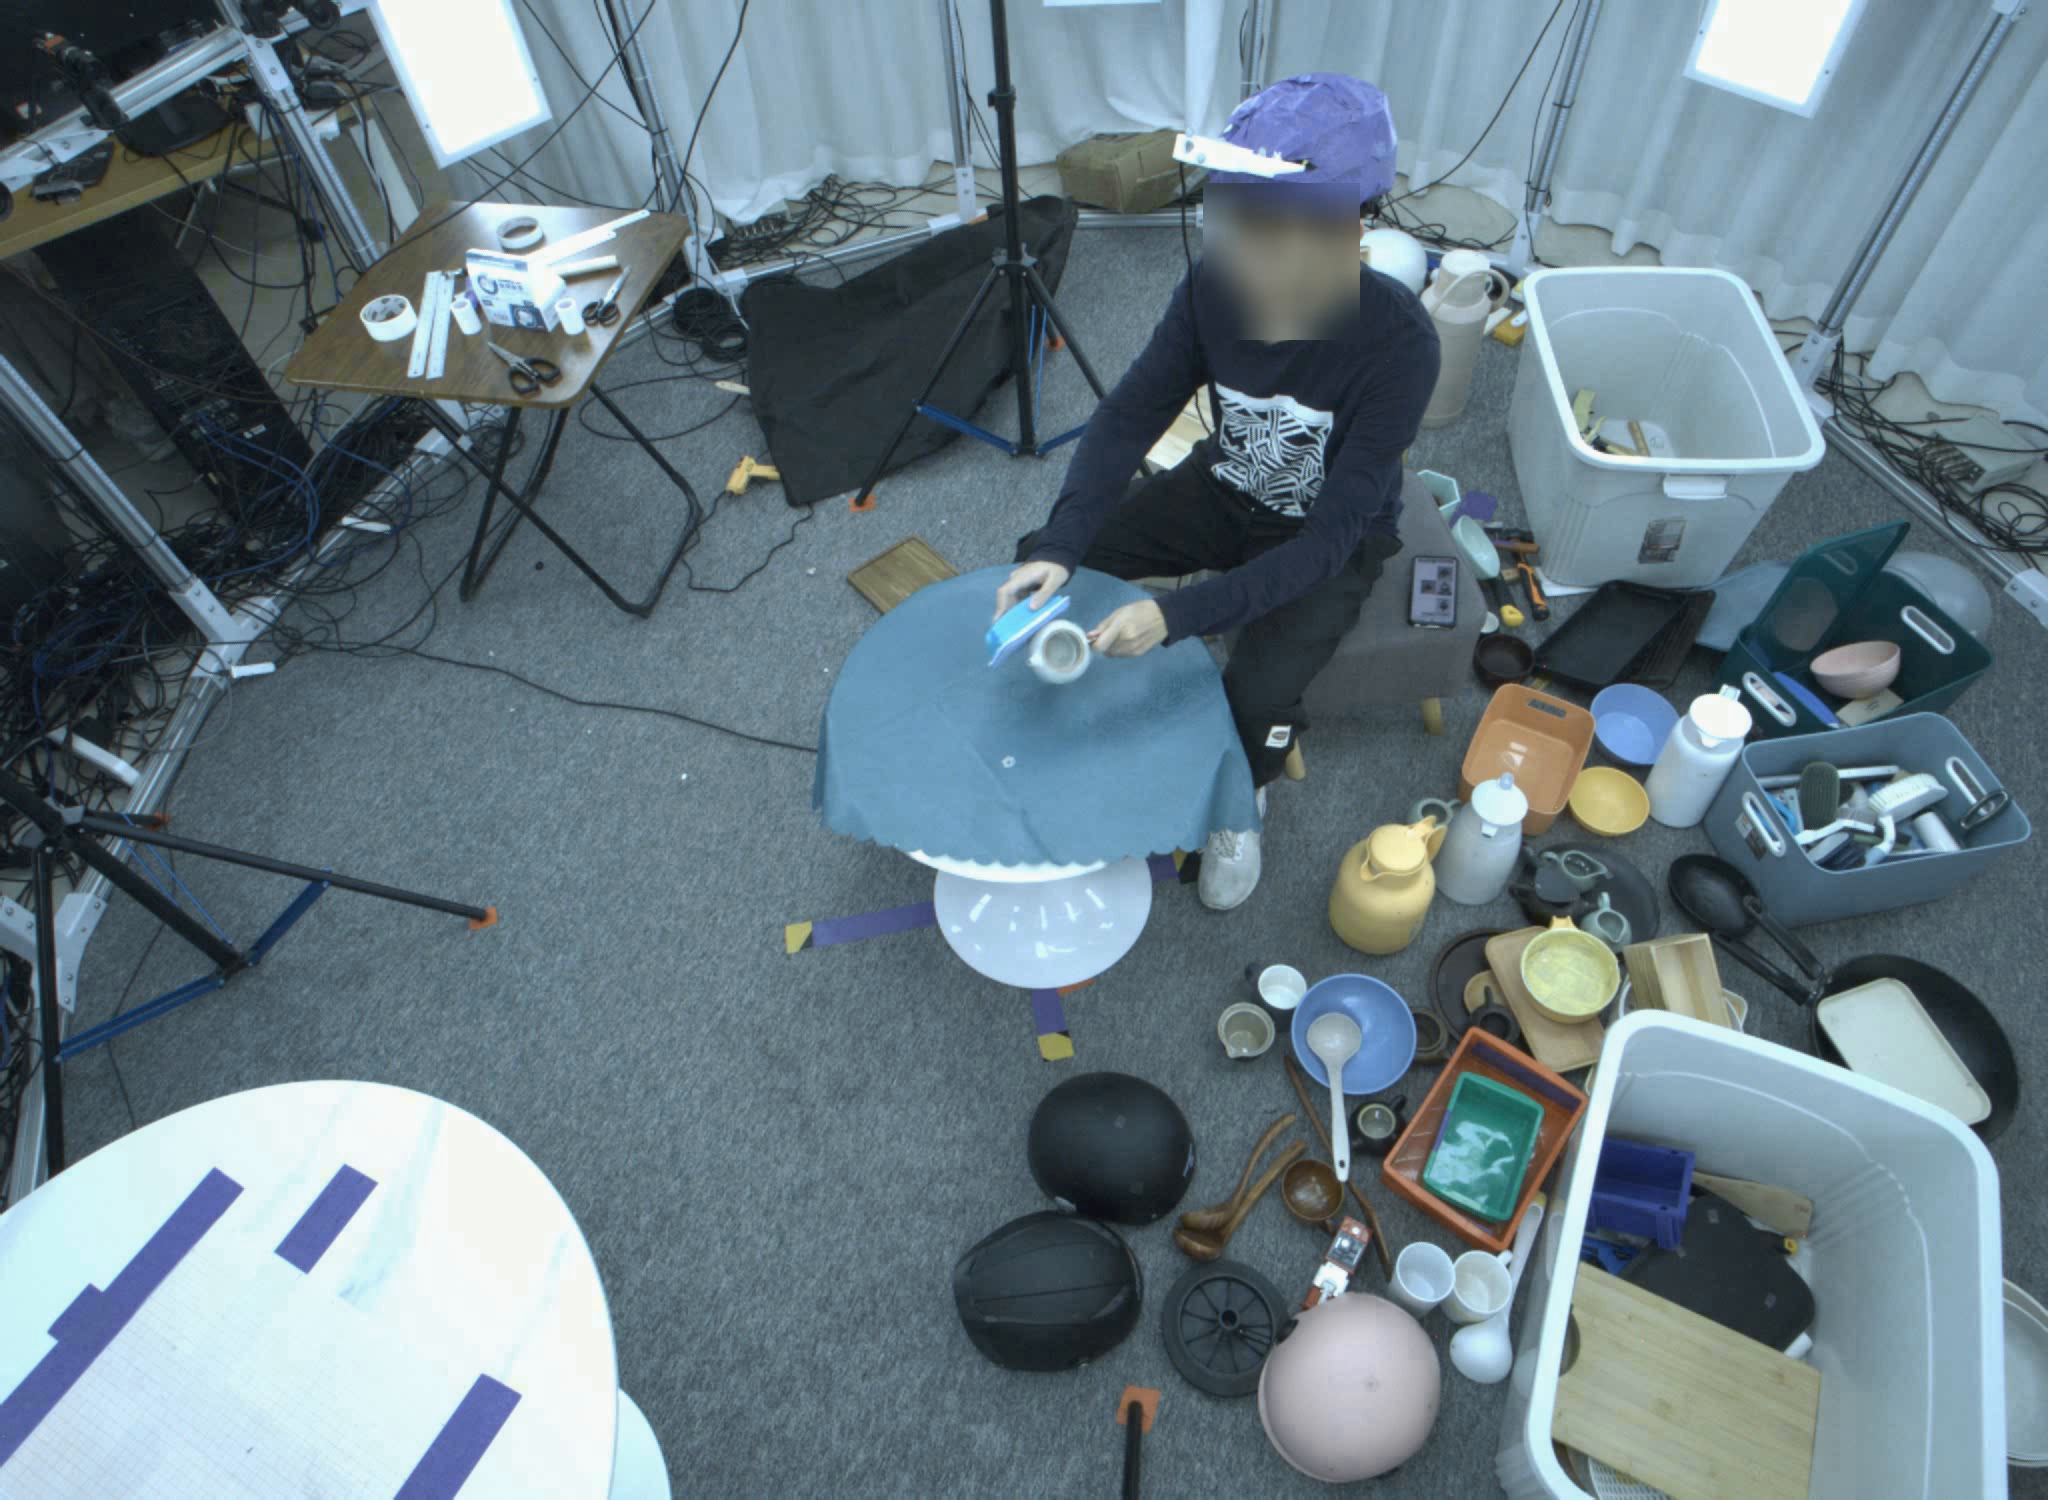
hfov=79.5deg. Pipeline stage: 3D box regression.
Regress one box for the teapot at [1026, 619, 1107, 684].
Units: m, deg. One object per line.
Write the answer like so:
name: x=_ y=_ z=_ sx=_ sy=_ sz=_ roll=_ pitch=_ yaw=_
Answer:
teapot: x=0.058 y=-0.144 z=1.742 sx=0.129 sy=0.059 sz=0.092 roll=-24 pitch=94 yaw=-9

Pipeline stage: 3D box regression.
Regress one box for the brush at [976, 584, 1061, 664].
brush: x=-0.013 y=-0.184 z=1.738 sx=0.056 sy=0.083 sz=0.144 roll=46 pitch=67 yaw=-4
